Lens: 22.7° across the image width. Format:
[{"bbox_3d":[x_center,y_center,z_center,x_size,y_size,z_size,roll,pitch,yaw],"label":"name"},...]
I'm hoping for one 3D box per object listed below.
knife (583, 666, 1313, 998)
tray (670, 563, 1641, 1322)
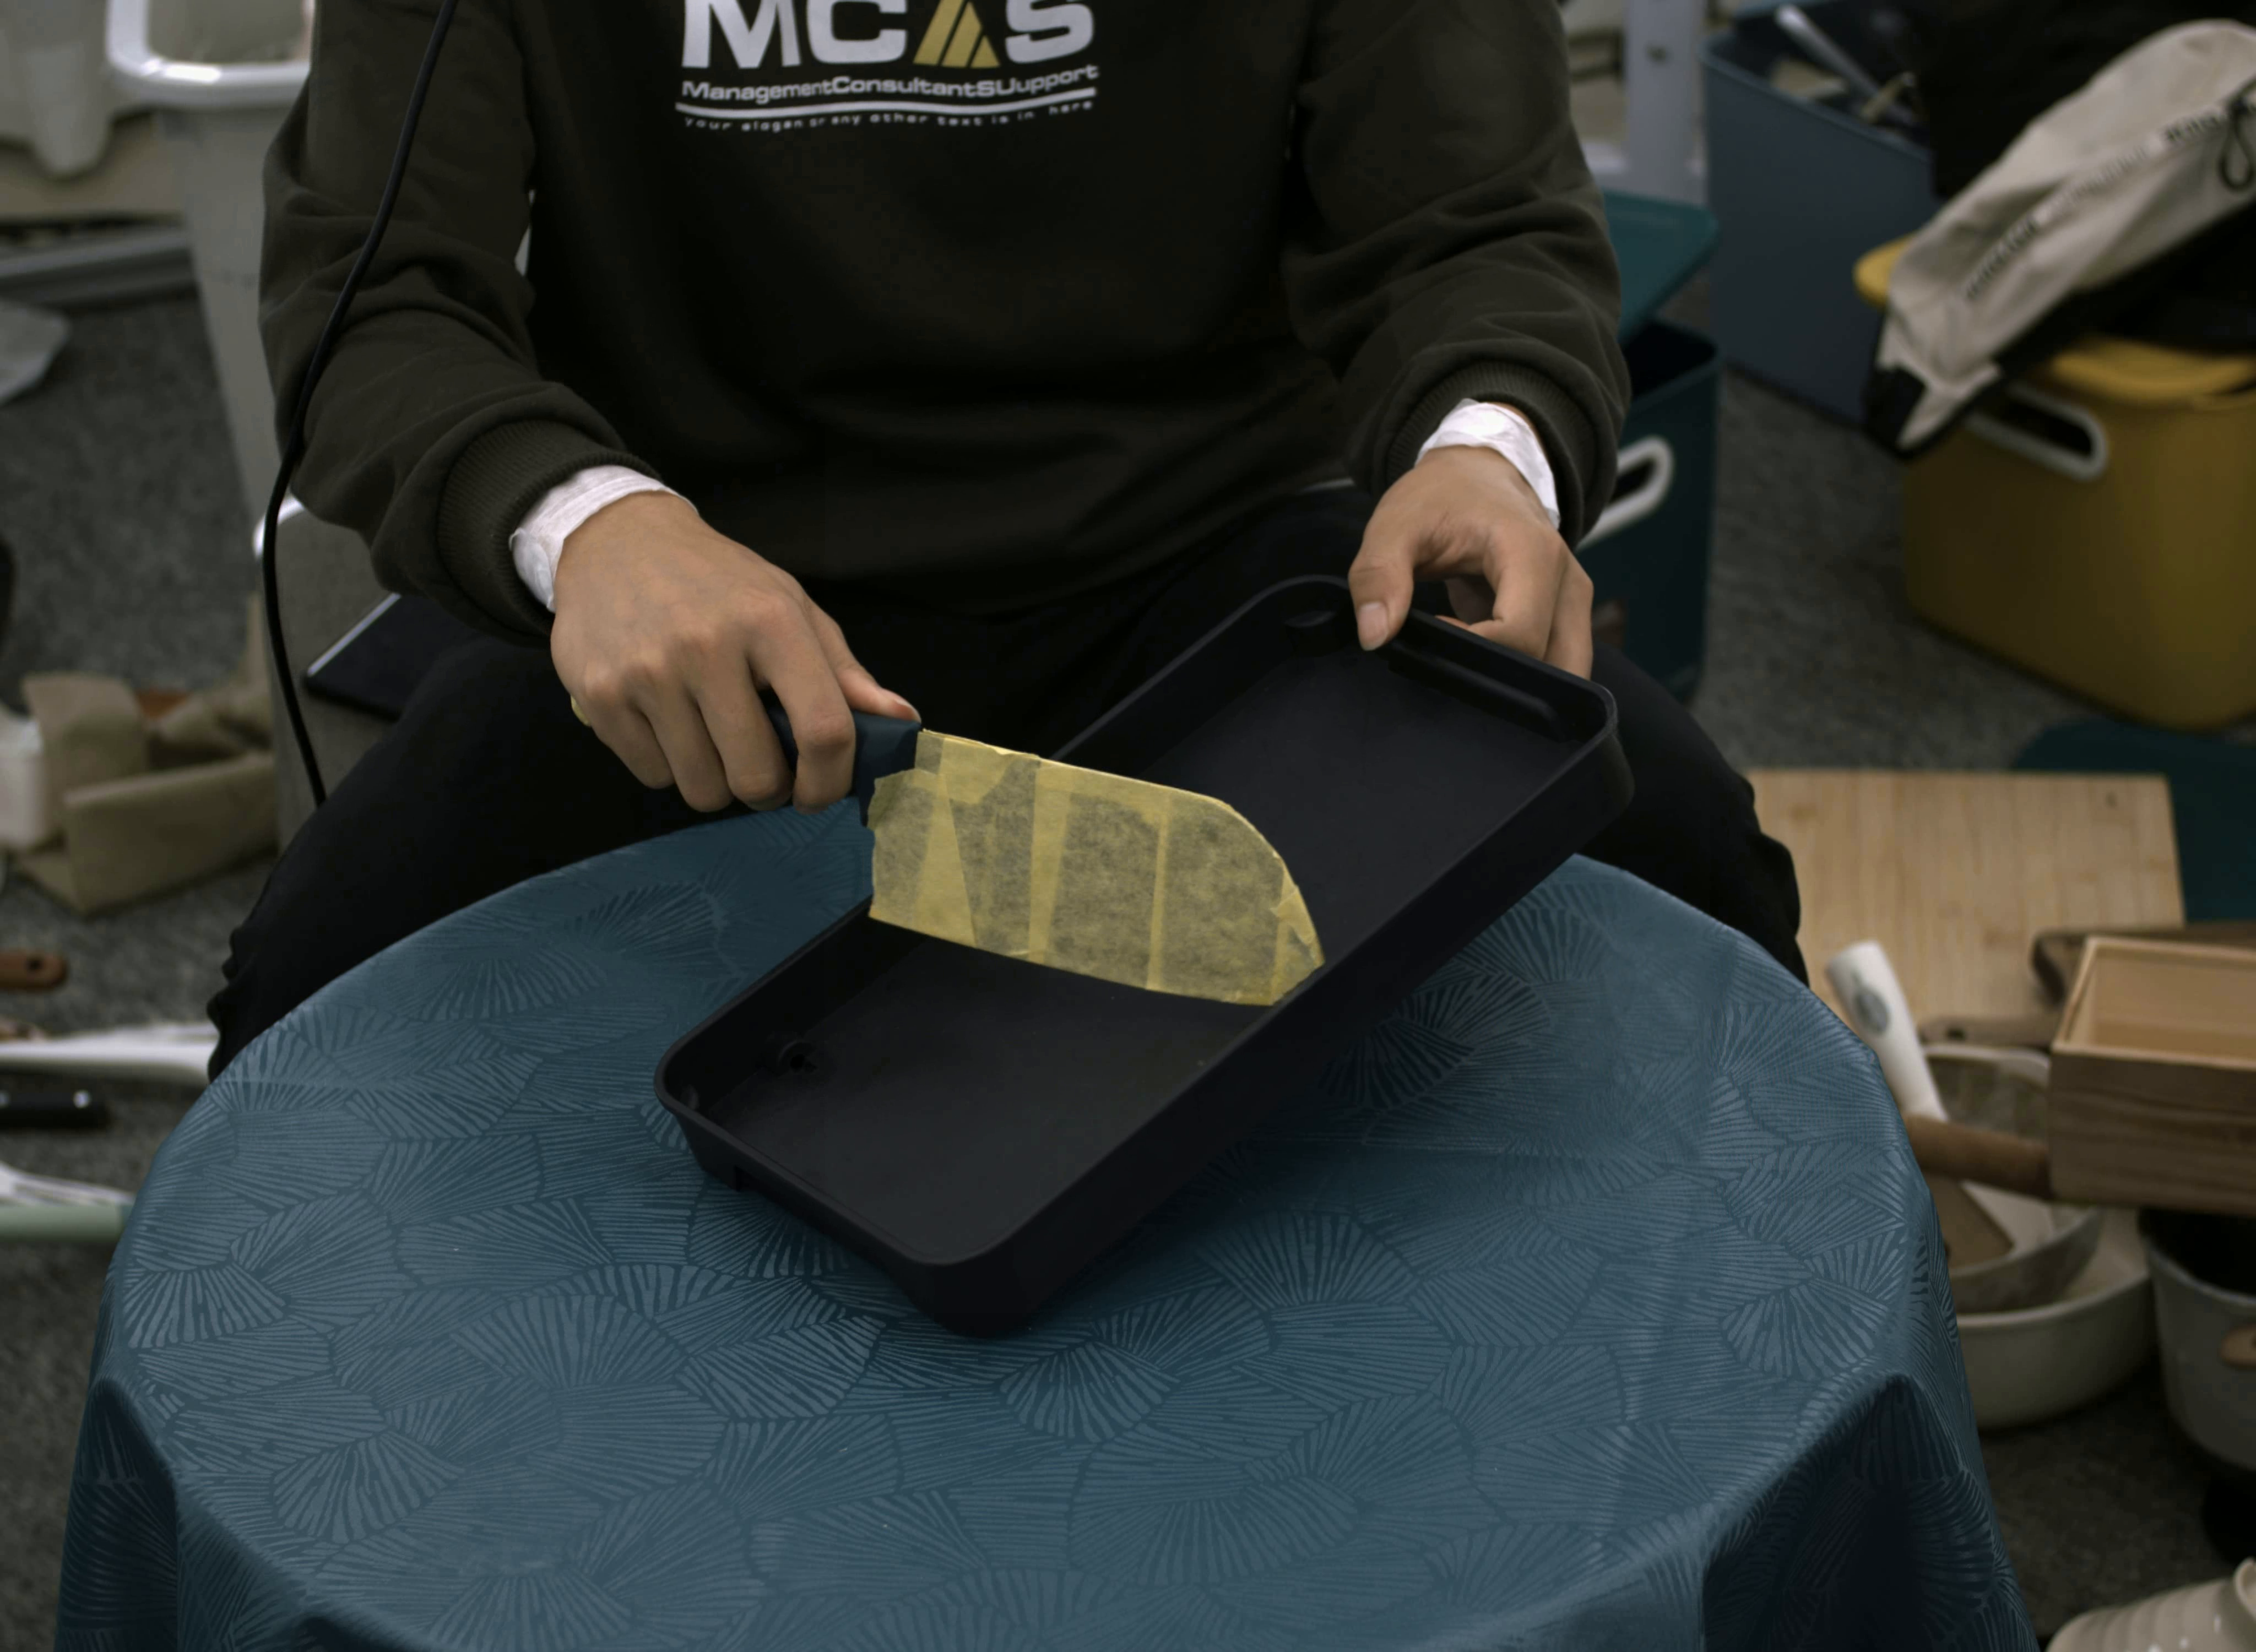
[{"bbox_3d":[-0.063,0.001,1.892,0.288,0.080,0.027,18,18,25],"label":"knife"},{"bbox_3d":[0.011,0.033,1.892,0.322,0.036,0.184,-40,38,-24],"label":"tray"}]
